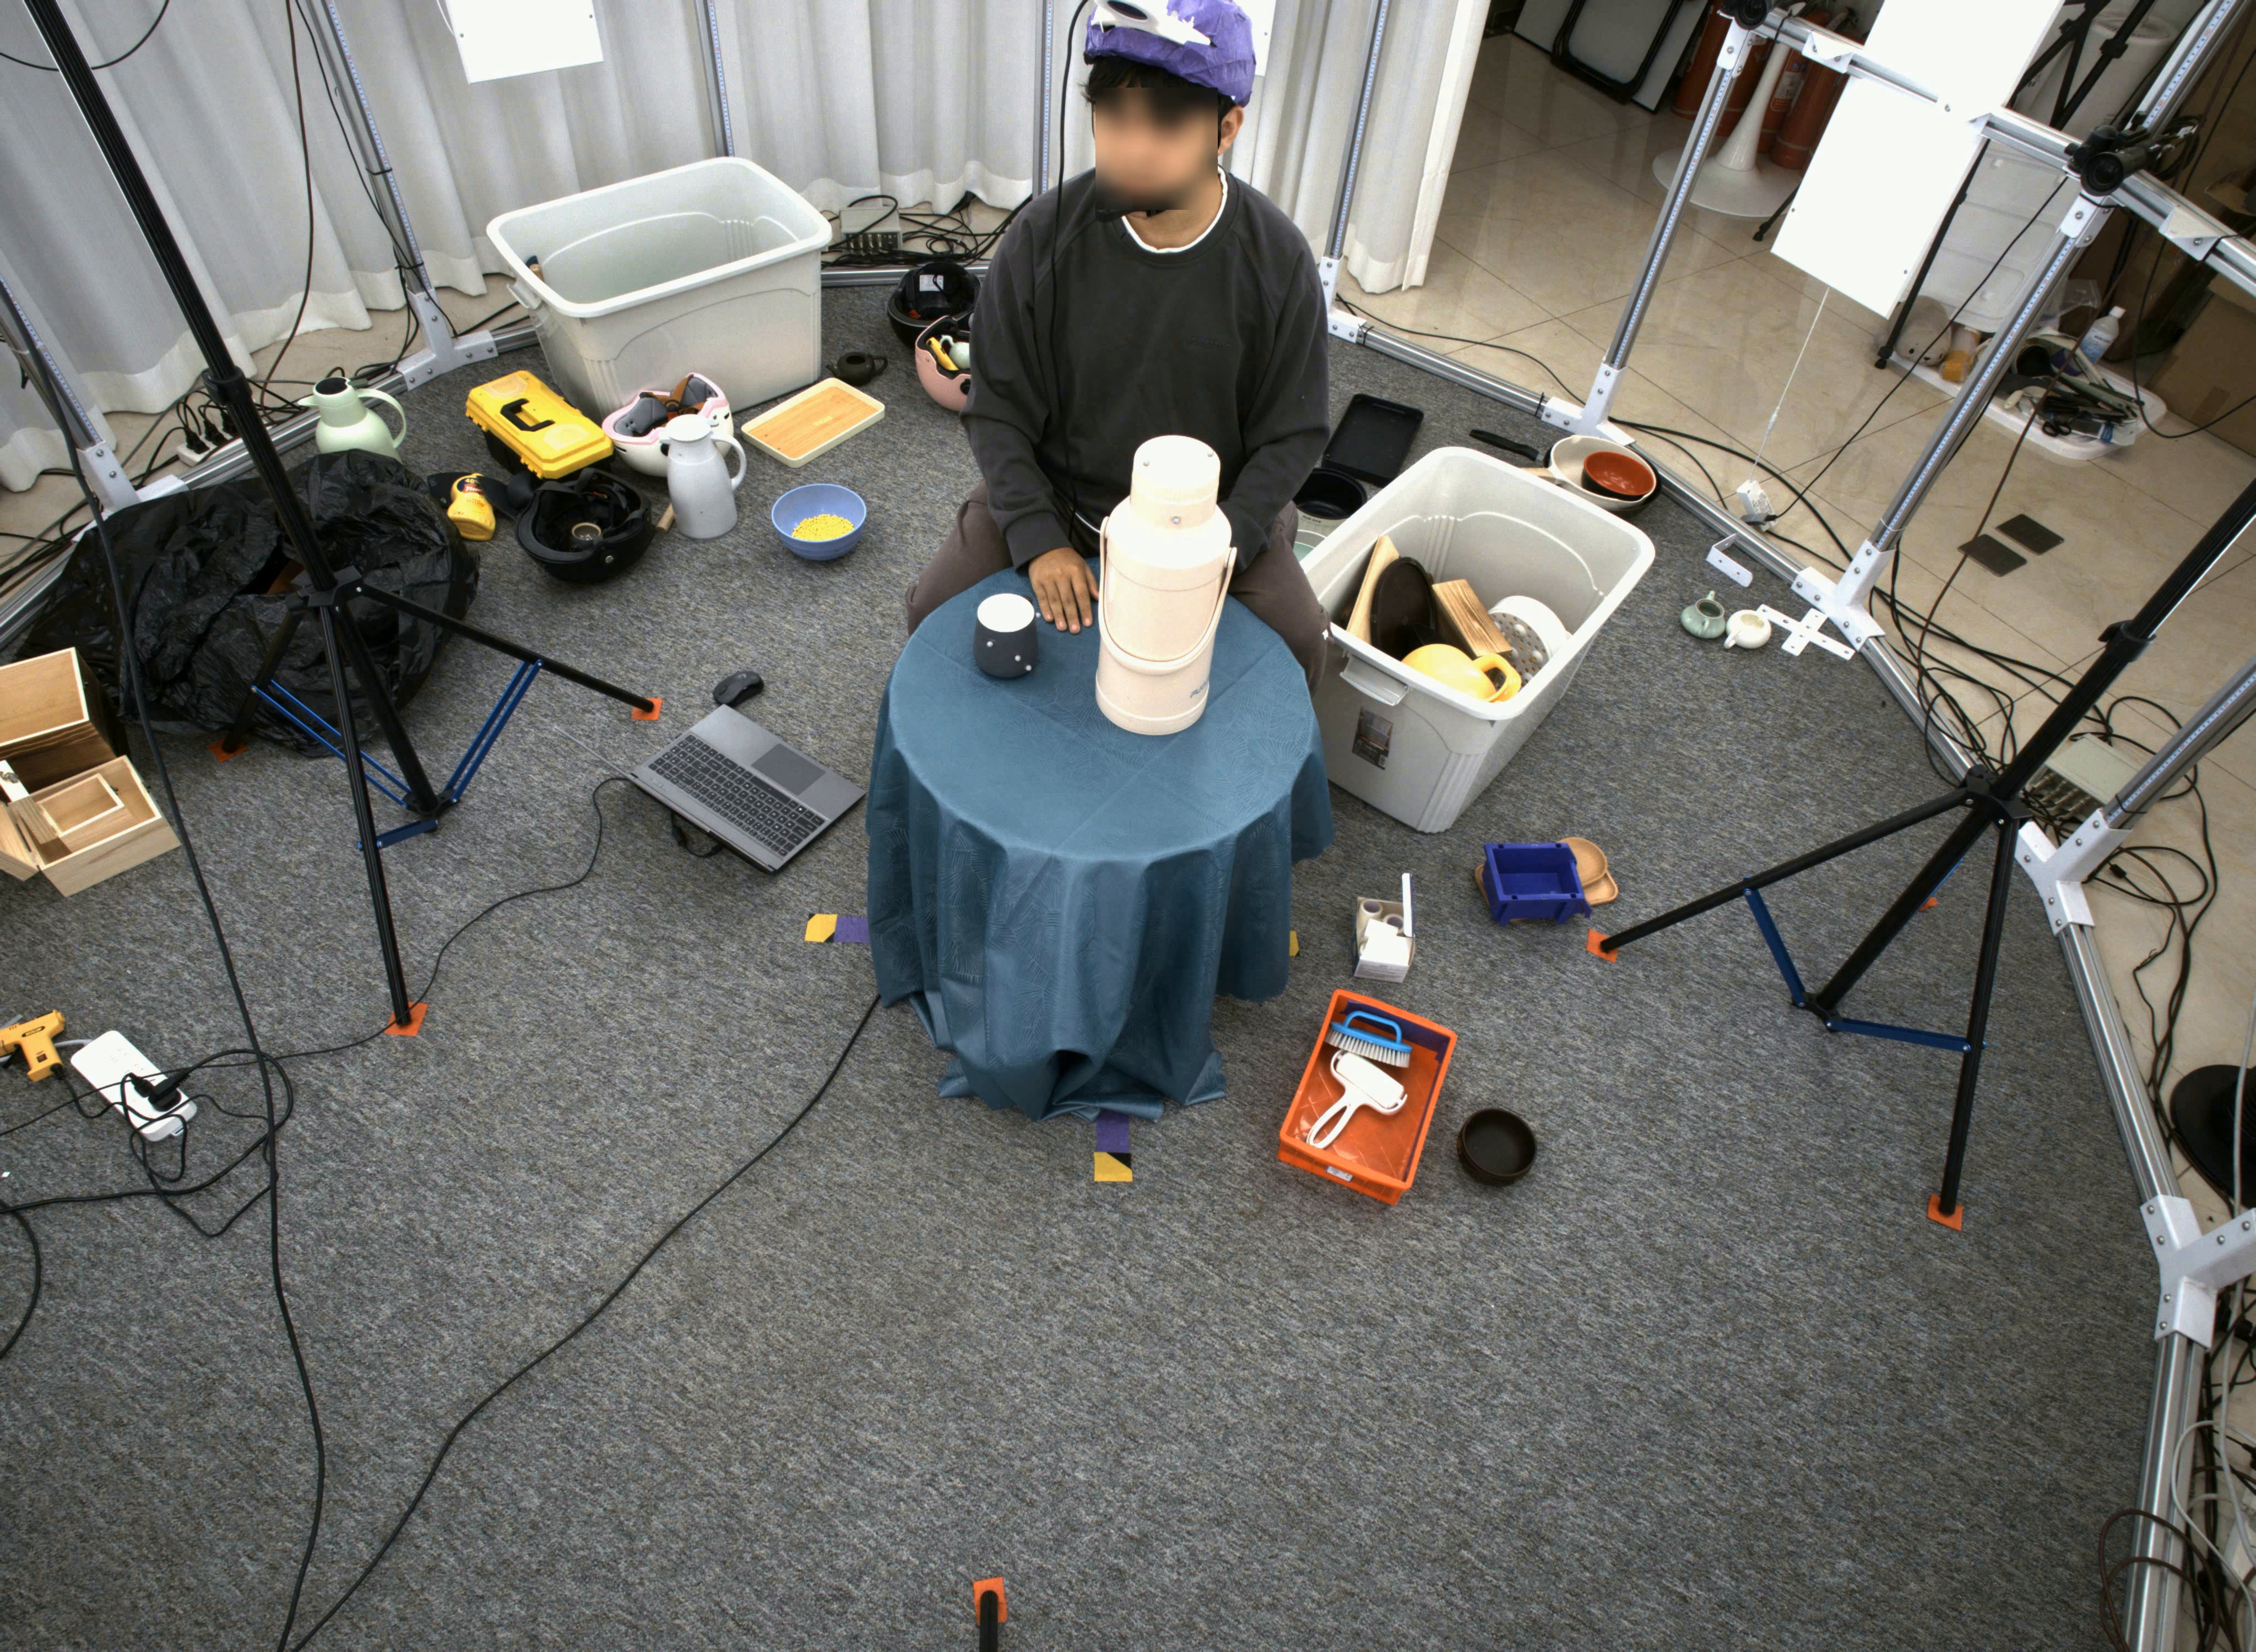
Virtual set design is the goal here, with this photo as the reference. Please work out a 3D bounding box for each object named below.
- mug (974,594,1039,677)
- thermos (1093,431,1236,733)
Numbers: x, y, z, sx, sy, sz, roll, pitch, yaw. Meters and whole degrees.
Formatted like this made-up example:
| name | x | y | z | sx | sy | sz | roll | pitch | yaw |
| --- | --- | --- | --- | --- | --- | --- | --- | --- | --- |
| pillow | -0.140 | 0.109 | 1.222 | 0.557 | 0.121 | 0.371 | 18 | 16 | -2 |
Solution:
| name | x | y | z | sx | sy | sz | roll | pitch | yaw |
| --- | --- | --- | --- | --- | --- | --- | --- | --- | --- |
| mug | -0.166 | -0.280 | 1.837 | 0.094 | 0.088 | 0.125 | 21 | 51 | 13 |
| thermos | 0.050 | -0.323 | 1.694 | 0.176 | 0.396 | 0.211 | 15 | 50 | 8 |
